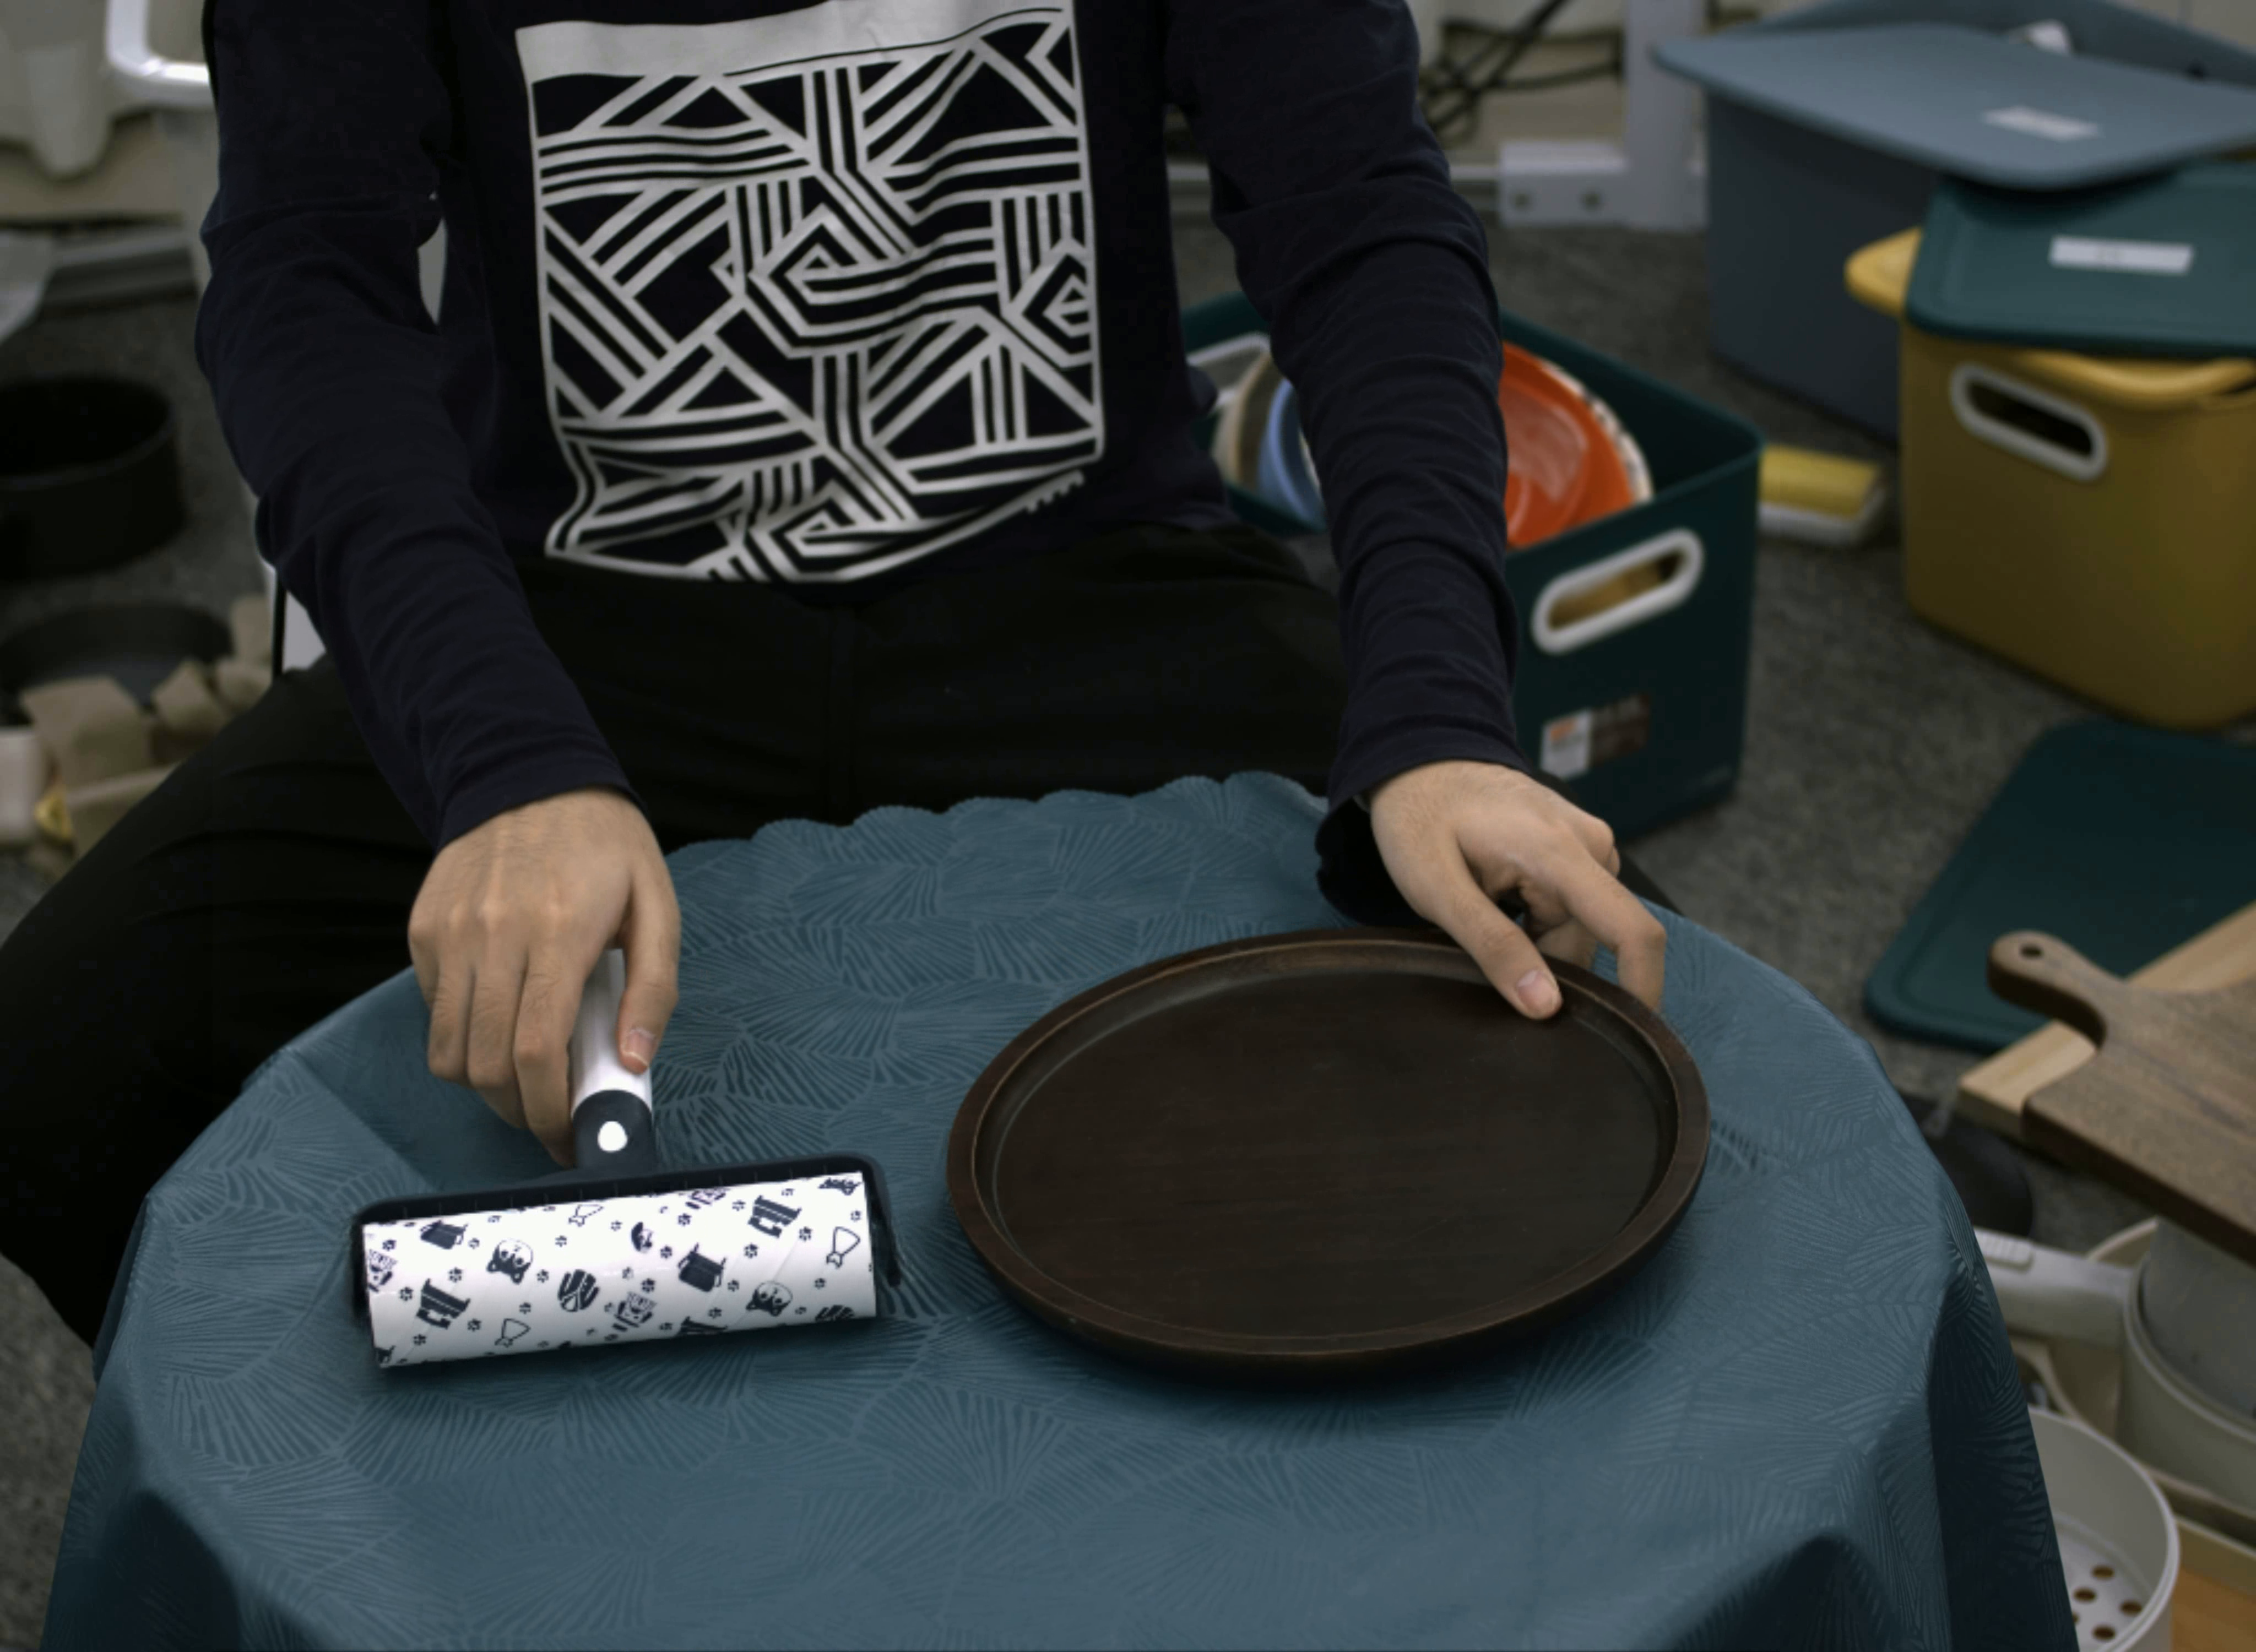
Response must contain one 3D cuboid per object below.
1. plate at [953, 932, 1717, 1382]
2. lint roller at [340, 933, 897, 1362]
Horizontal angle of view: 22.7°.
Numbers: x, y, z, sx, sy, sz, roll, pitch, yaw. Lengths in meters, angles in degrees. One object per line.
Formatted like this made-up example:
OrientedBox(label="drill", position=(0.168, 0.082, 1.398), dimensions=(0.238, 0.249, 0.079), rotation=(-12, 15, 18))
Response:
OrientedBox(label="plate", position=(0.067, 0.107, 1.845), dimensions=(0.253, 0.029, 0.259), rotation=(-4, 28, 2))
OrientedBox(label="lint roller", position=(-0.174, 0.094, 1.877), dimensions=(0.176, 0.050, 0.250), rotation=(-7, 28, -5))
